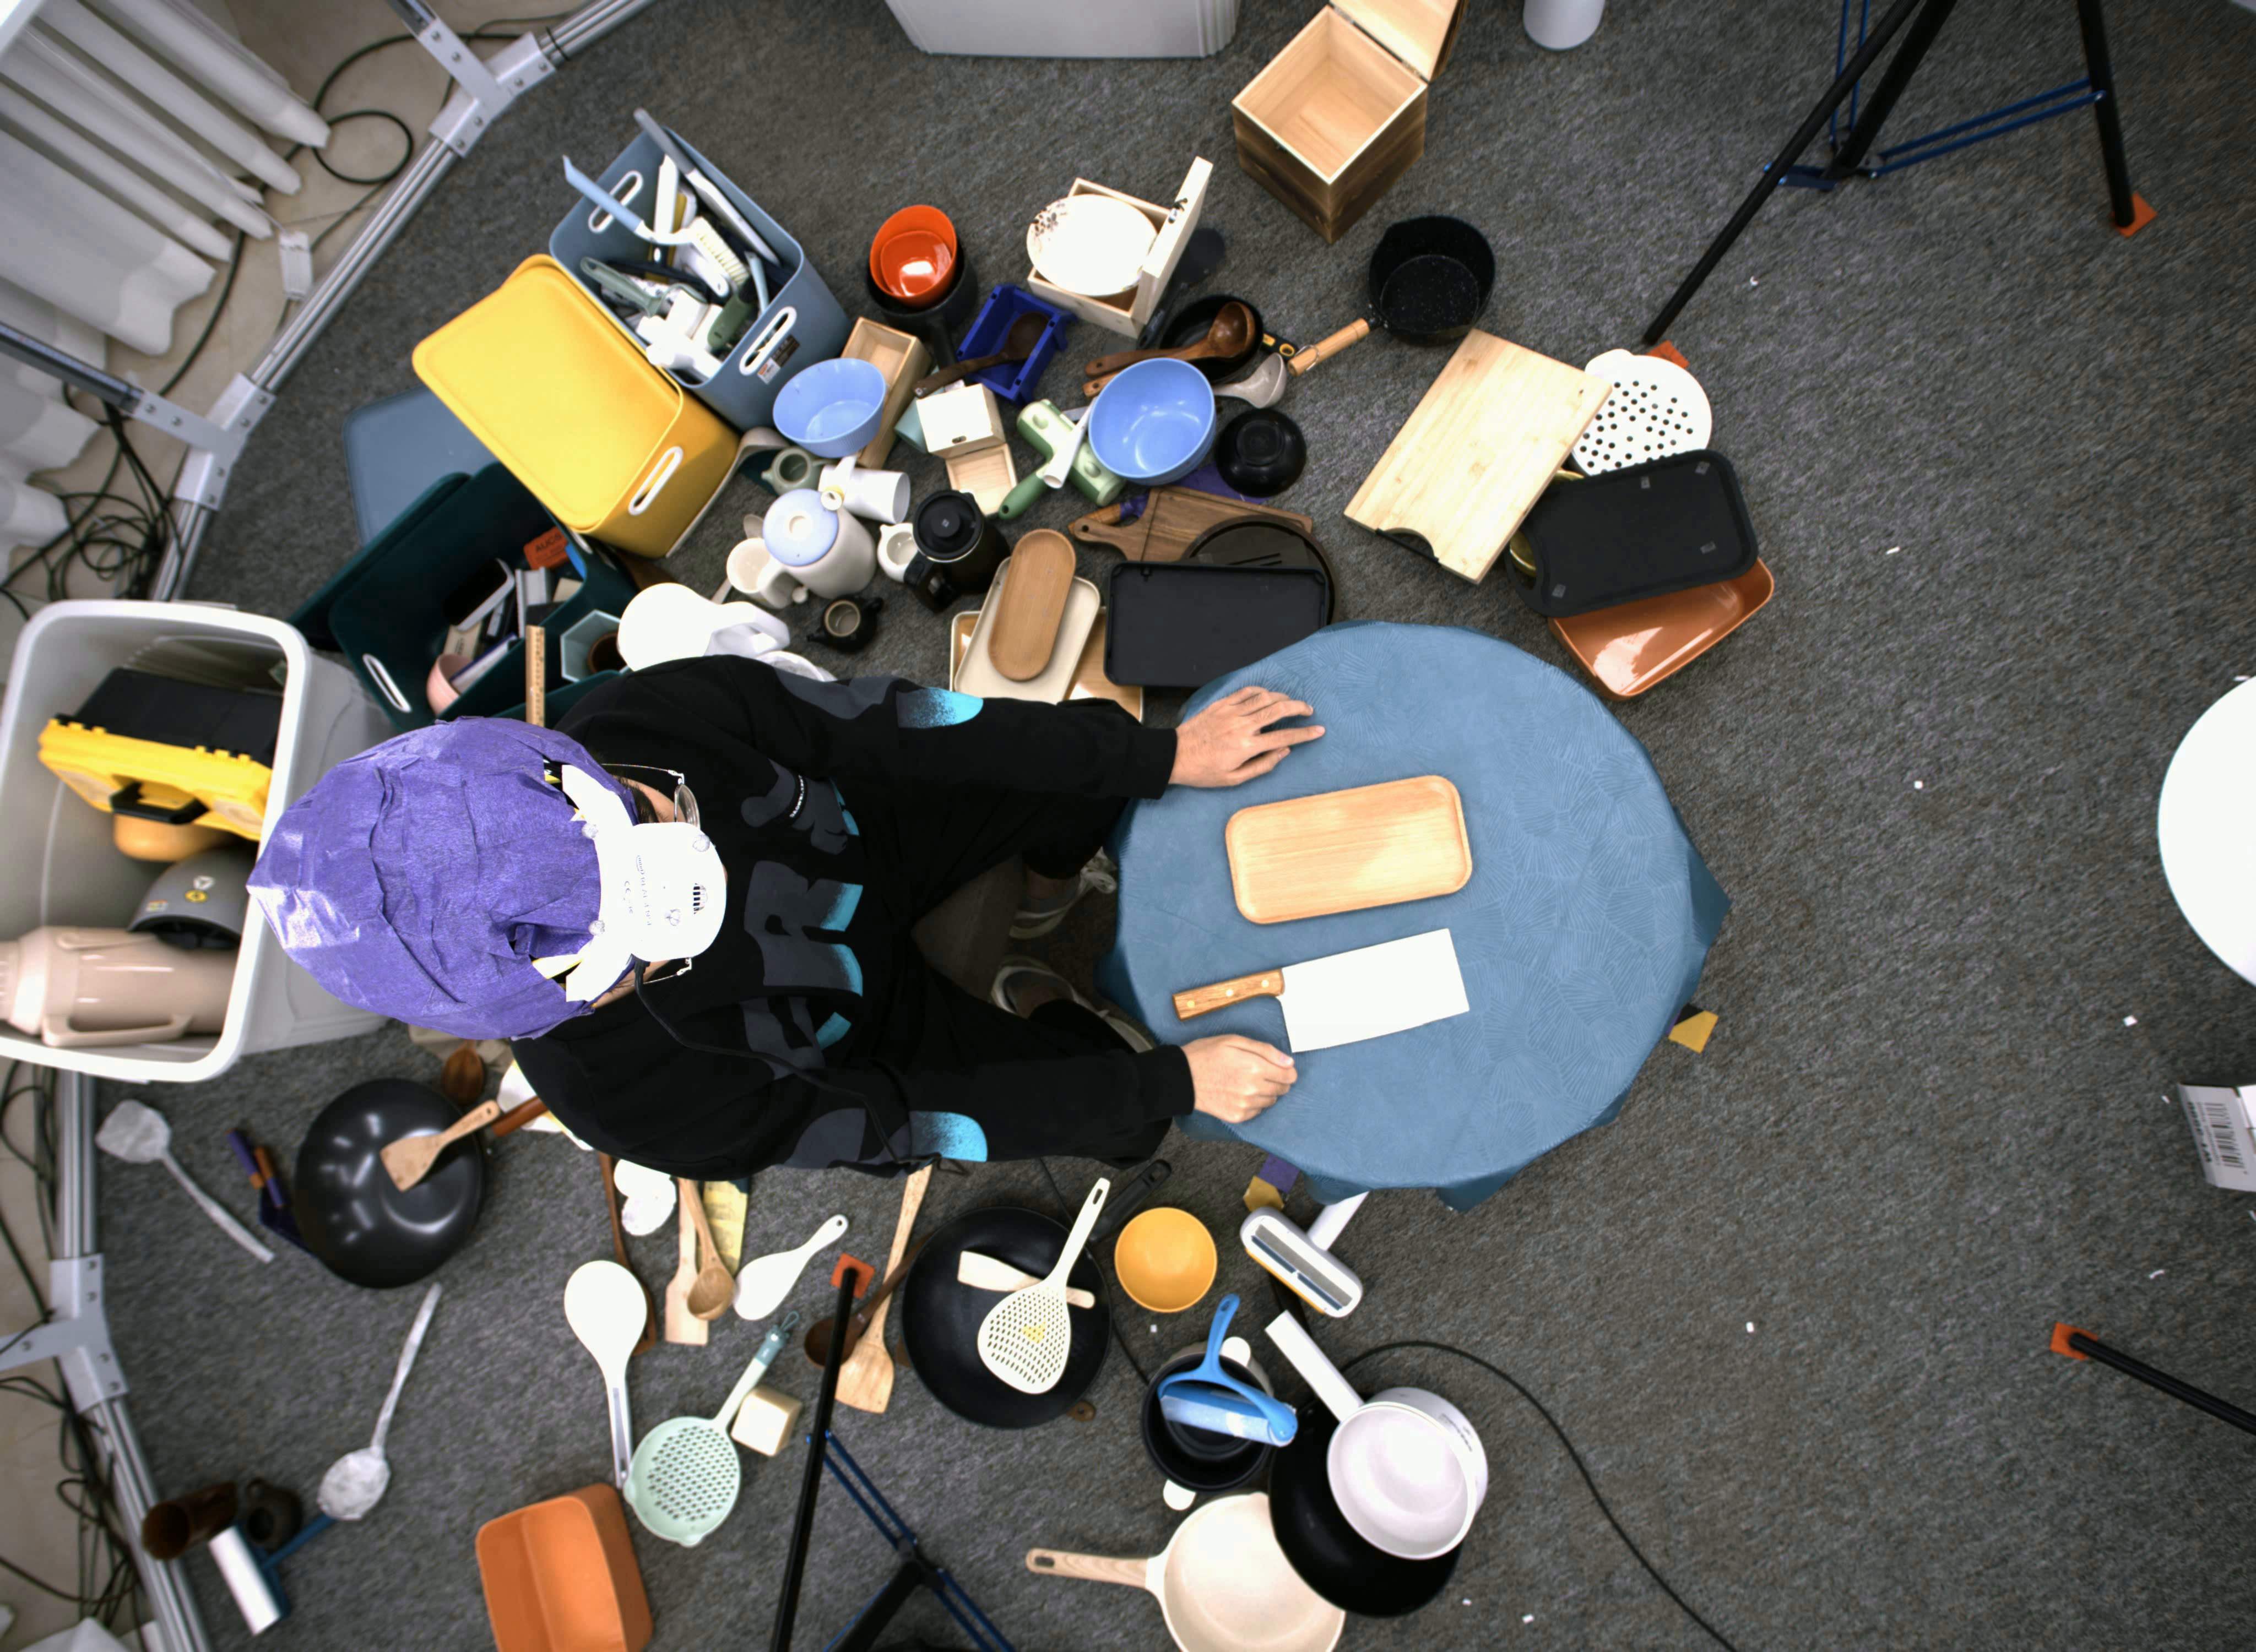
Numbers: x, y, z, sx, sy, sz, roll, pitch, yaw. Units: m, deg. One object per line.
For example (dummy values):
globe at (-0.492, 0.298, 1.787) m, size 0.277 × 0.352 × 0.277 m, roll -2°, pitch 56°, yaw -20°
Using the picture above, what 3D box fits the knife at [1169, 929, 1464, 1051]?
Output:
knife at (0.199, 0.184, 1.459) m, size 0.307 × 0.021 × 0.092 m, roll -14°, pitch 86°, yaw 7°

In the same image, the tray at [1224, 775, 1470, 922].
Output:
tray at (0.230, 0.024, 1.462) m, size 0.252 × 0.023 × 0.129 m, roll -9°, pitch 83°, yaw 11°
